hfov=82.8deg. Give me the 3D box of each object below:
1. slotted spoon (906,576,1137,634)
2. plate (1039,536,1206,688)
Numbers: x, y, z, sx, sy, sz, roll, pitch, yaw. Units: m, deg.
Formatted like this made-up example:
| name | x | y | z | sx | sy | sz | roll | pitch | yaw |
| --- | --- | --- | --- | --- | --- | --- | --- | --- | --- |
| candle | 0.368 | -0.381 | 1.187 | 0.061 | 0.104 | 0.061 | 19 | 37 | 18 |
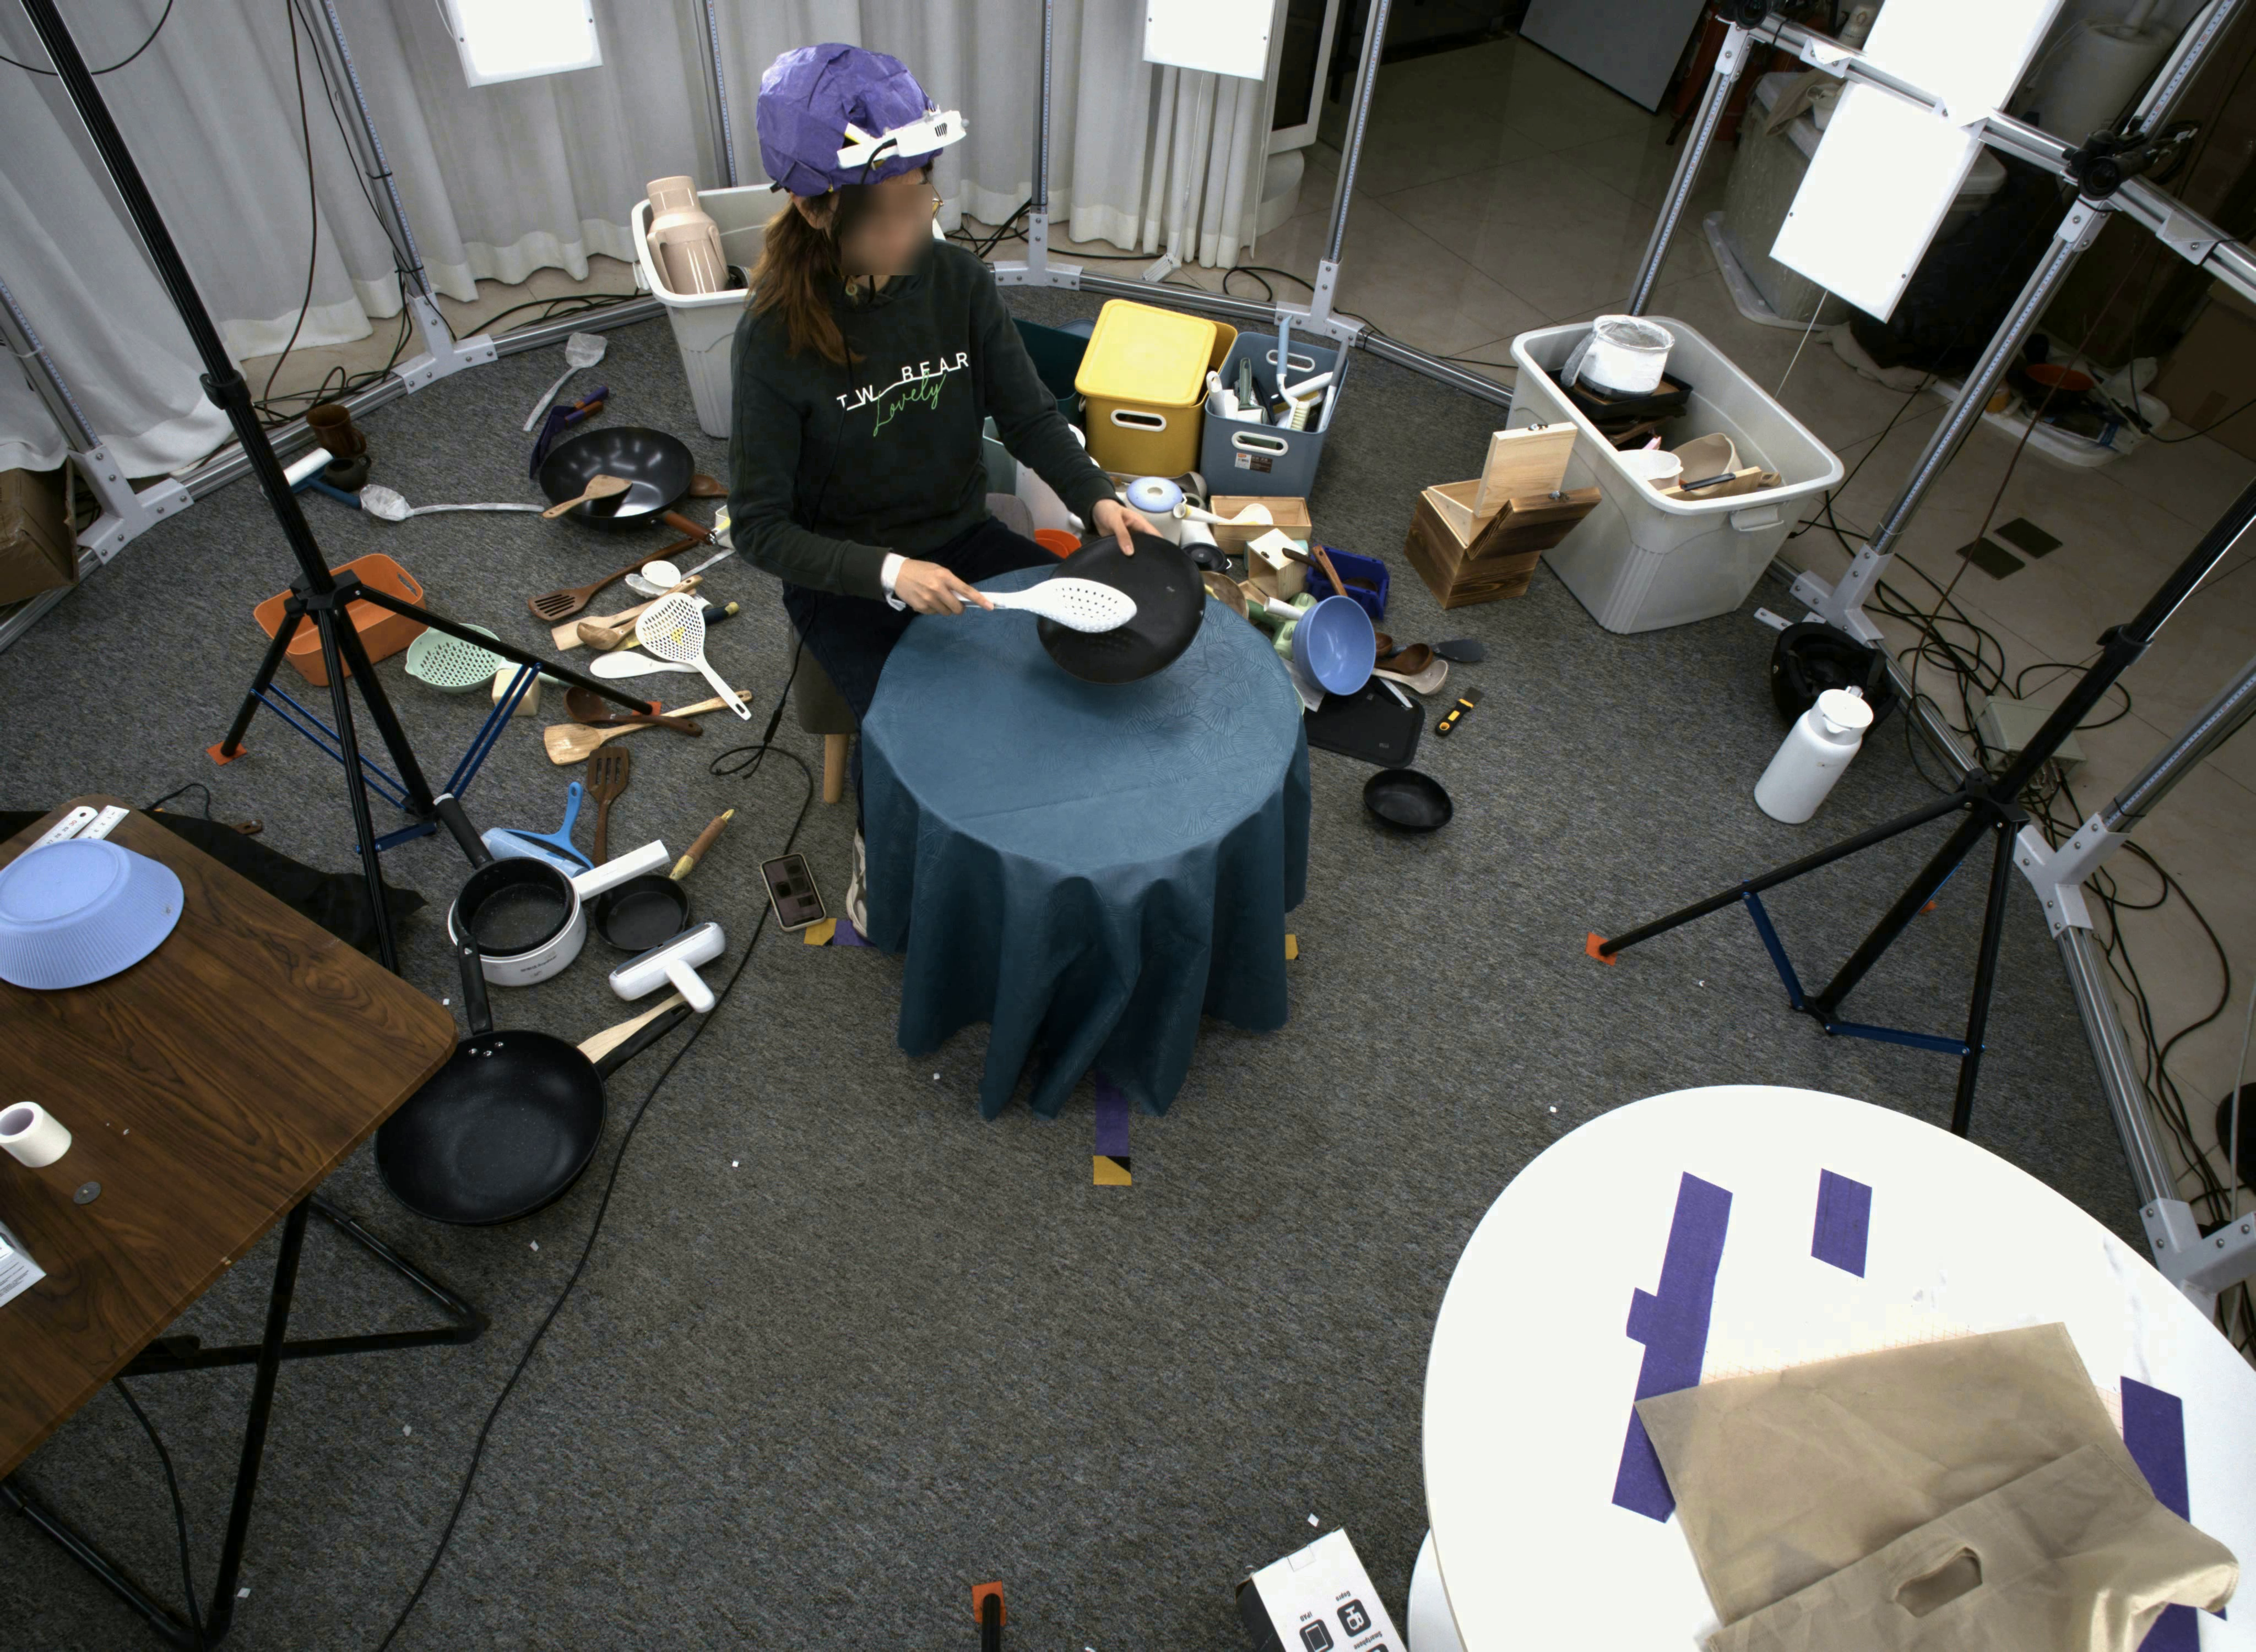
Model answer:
| name | x | y | z | sx | sy | sz | roll | pitch | yaw |
| --- | --- | --- | --- | --- | --- | --- | --- | --- | --- |
| slotted spoon | -0.155 | -0.312 | 1.800 | 0.352 | 0.133 | 0.046 | 11 | 75 | 23 |
| plate | -0.007 | -0.301 | 1.820 | 0.244 | 0.023 | 0.249 | -5 | 66 | 12 |
